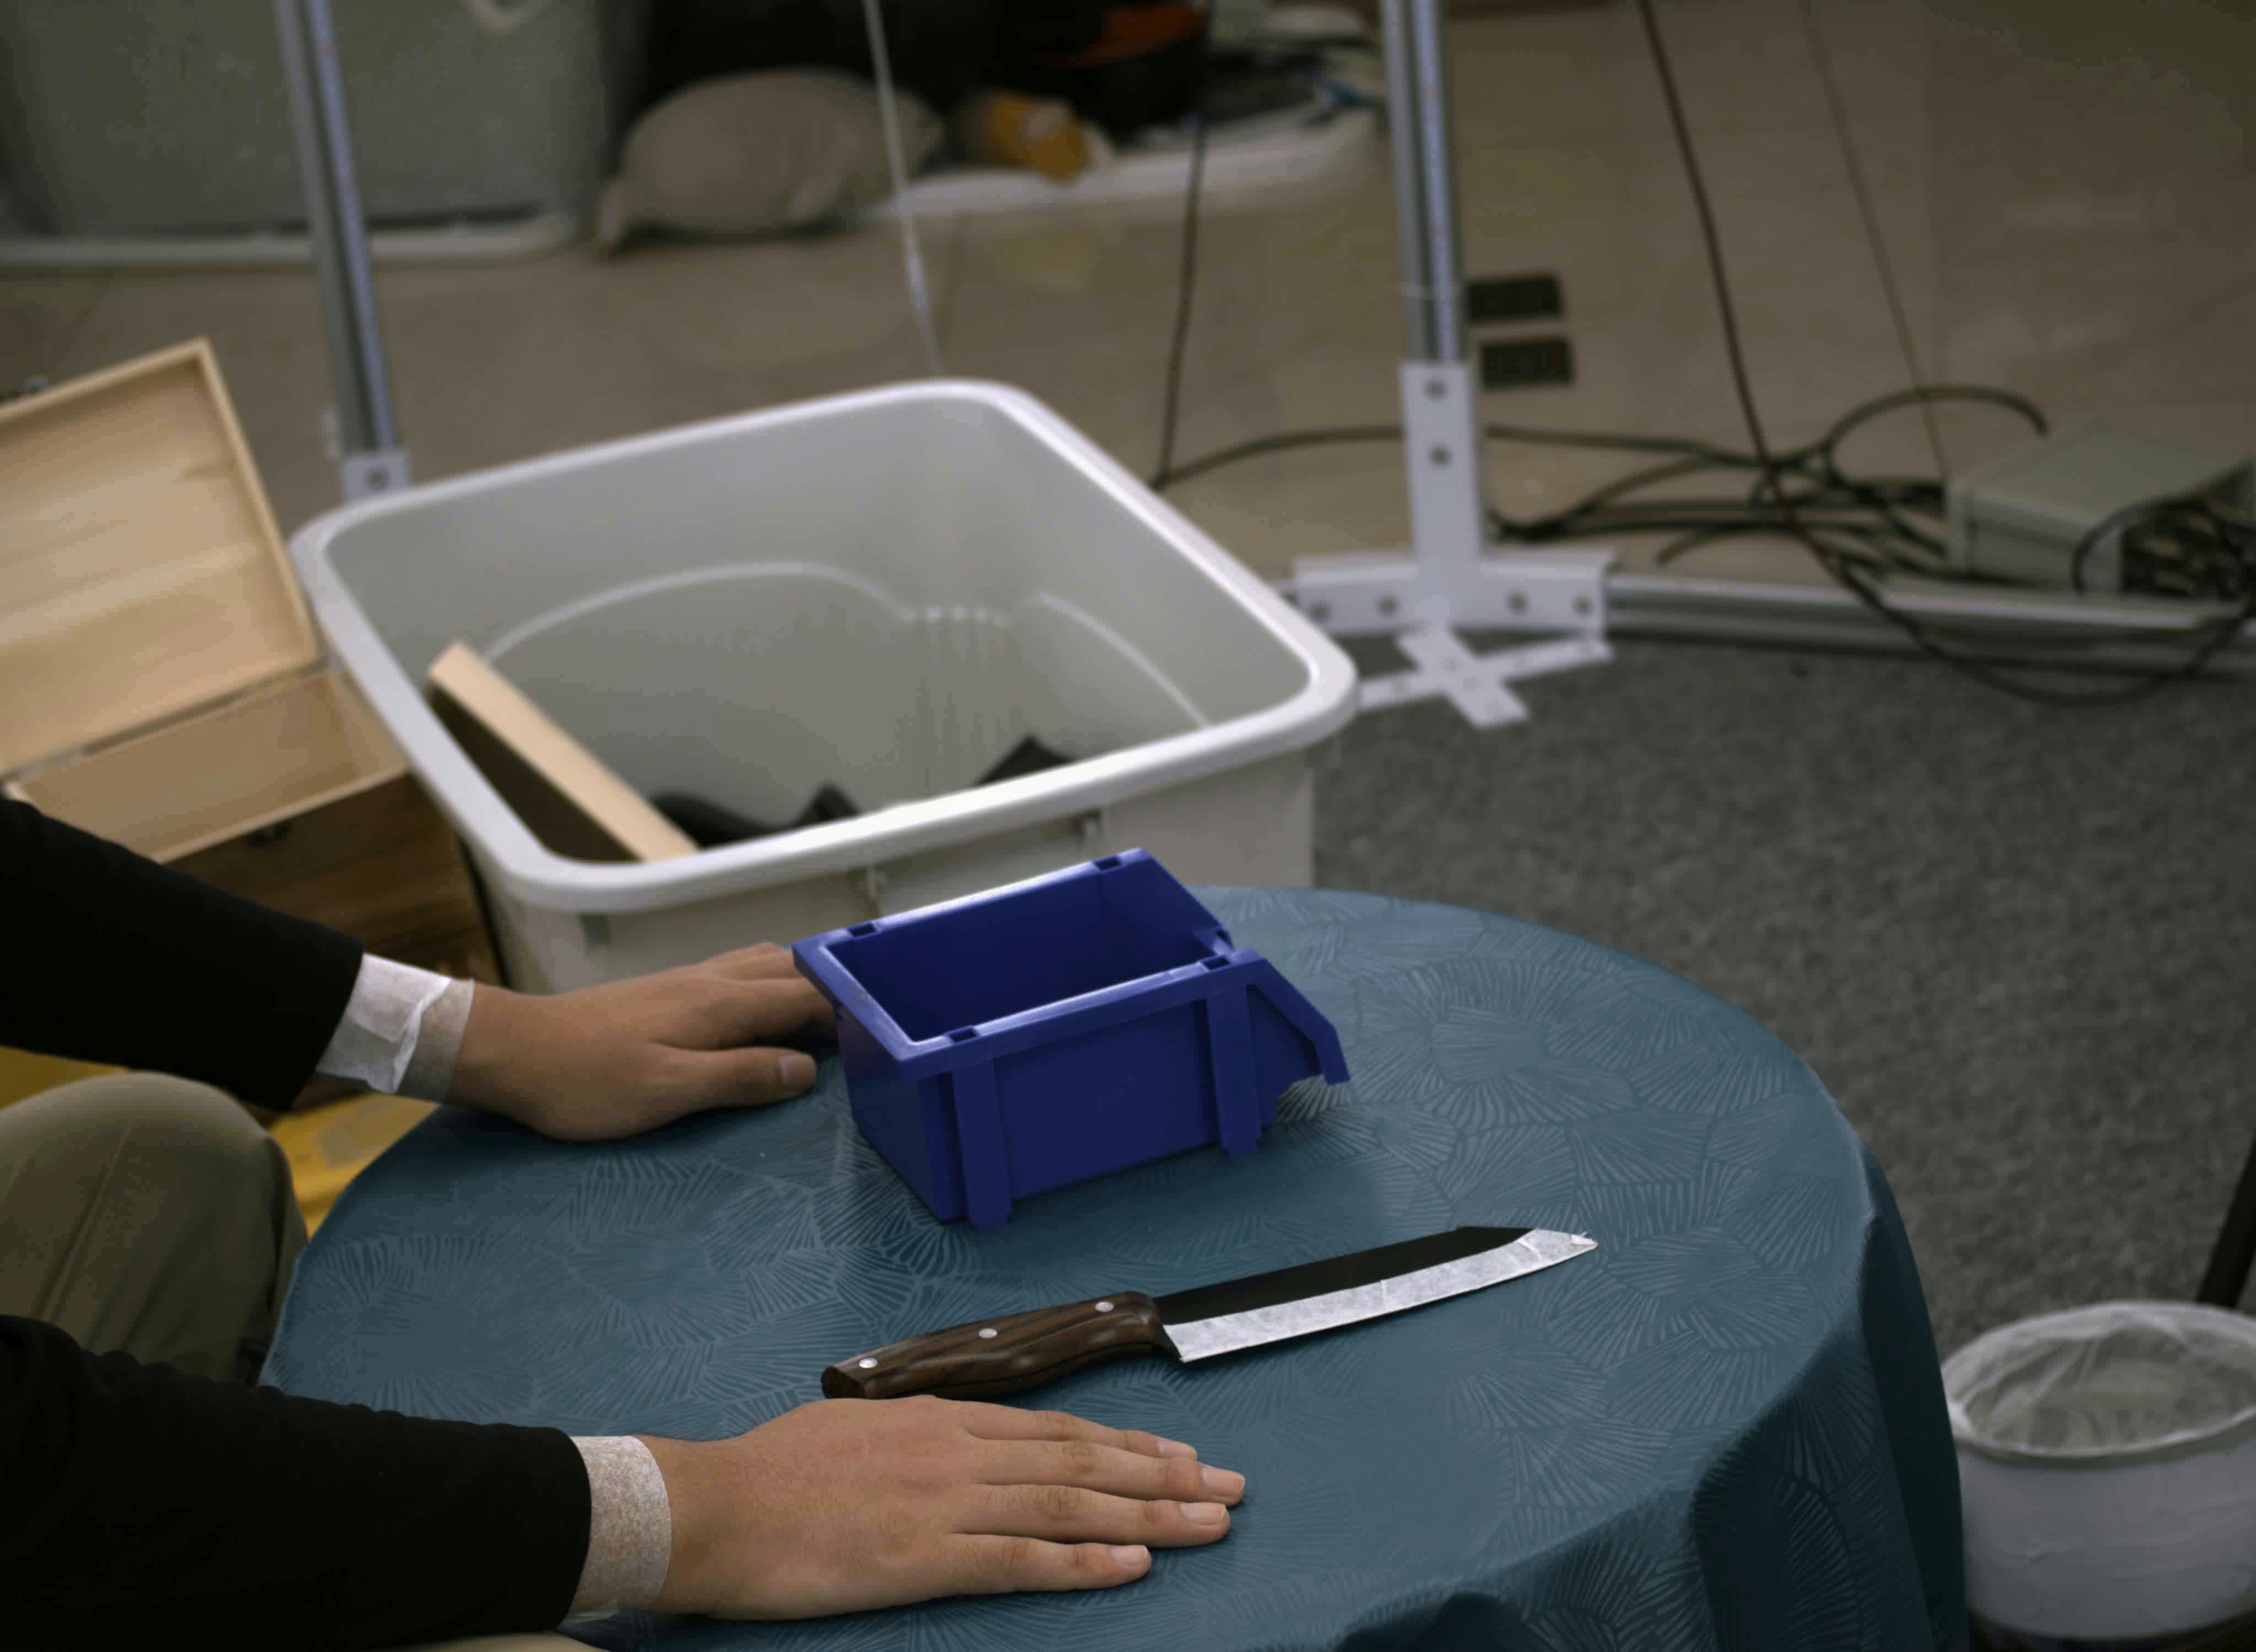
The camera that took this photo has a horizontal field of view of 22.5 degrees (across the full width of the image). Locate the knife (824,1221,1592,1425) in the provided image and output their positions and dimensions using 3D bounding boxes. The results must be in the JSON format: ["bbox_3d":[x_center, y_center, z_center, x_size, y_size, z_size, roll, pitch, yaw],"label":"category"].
[{"bbox_3d":[0.032,0.176,2.043,0.288,0.020,0.049,-10,30,-14],"label":"knife"}]

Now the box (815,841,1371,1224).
[{"bbox_3d":[-0.014,0.076,2.189,0.179,0.083,0.123,-17,27,-16],"label":"box"}]
